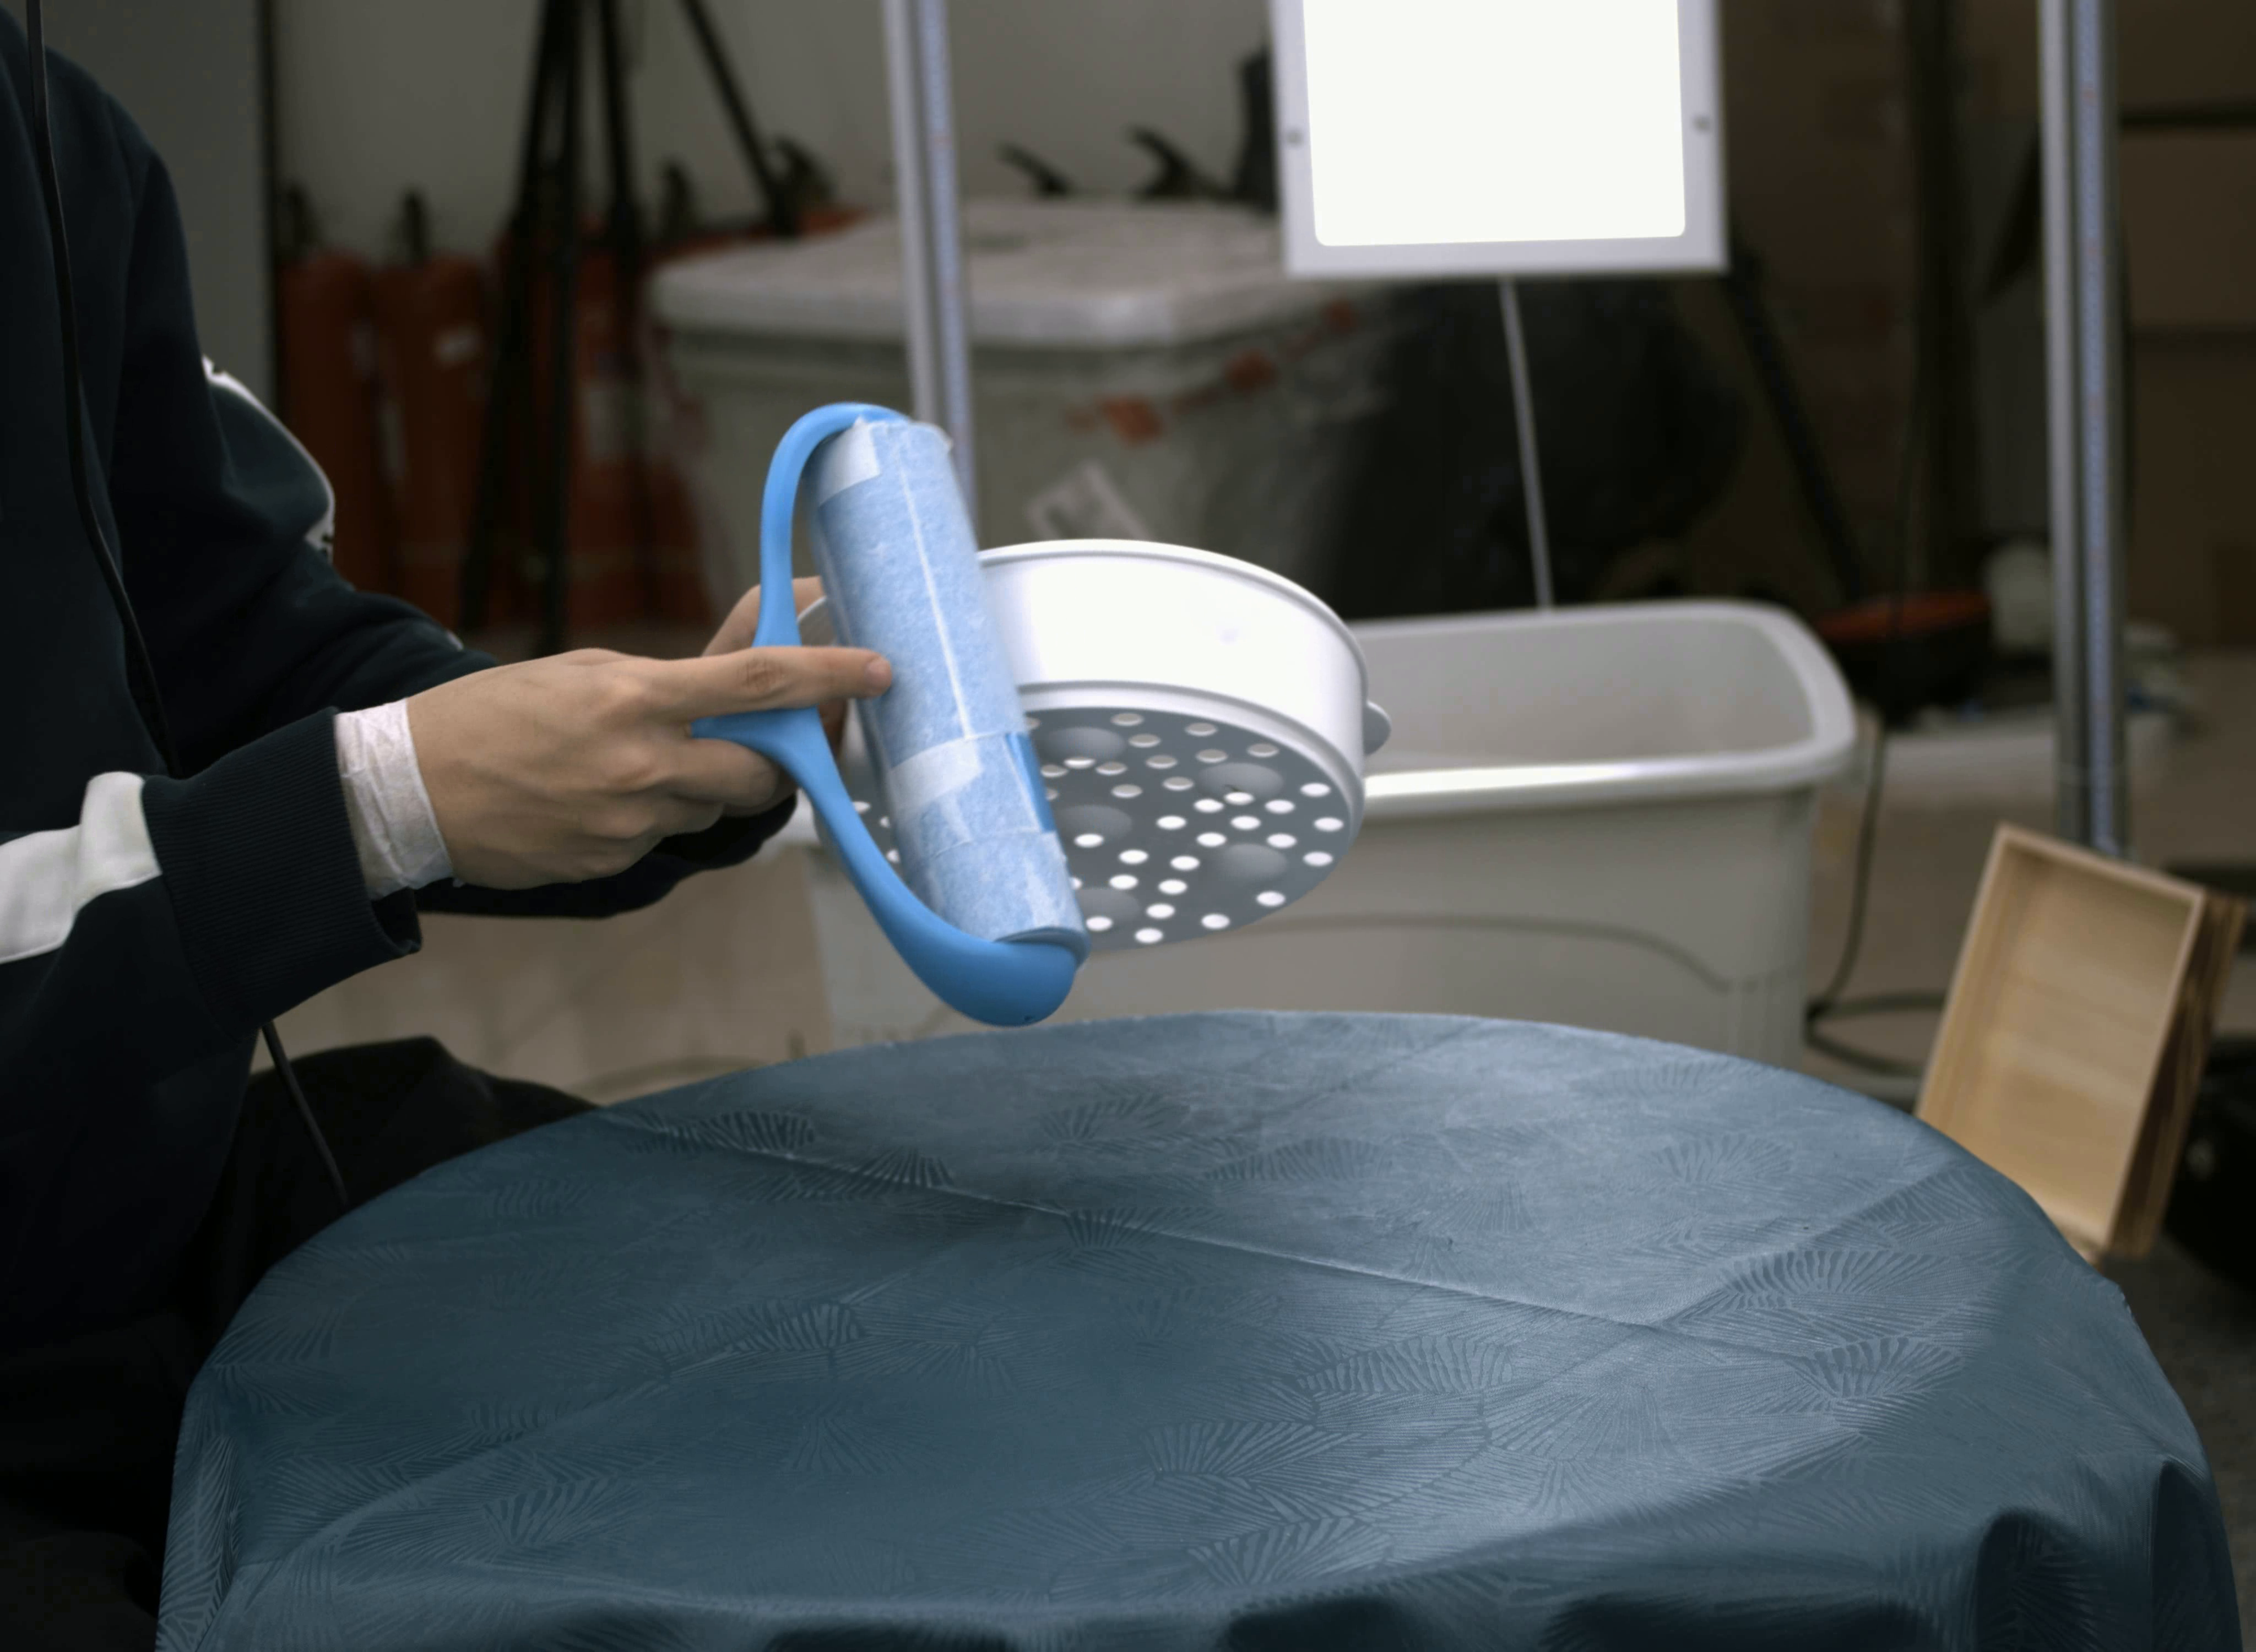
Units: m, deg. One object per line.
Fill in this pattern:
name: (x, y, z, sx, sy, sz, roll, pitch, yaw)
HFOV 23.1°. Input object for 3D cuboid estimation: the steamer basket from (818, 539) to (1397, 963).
steamer basket: (-0.011, -0.020, 1.929, 0.226, 0.069, 0.206, 11, -31, -23)

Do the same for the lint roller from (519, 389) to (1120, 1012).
lint roller: (-0.112, -0.027, 1.806, 0.178, 0.230, 0.068, -17, -21, -9)
